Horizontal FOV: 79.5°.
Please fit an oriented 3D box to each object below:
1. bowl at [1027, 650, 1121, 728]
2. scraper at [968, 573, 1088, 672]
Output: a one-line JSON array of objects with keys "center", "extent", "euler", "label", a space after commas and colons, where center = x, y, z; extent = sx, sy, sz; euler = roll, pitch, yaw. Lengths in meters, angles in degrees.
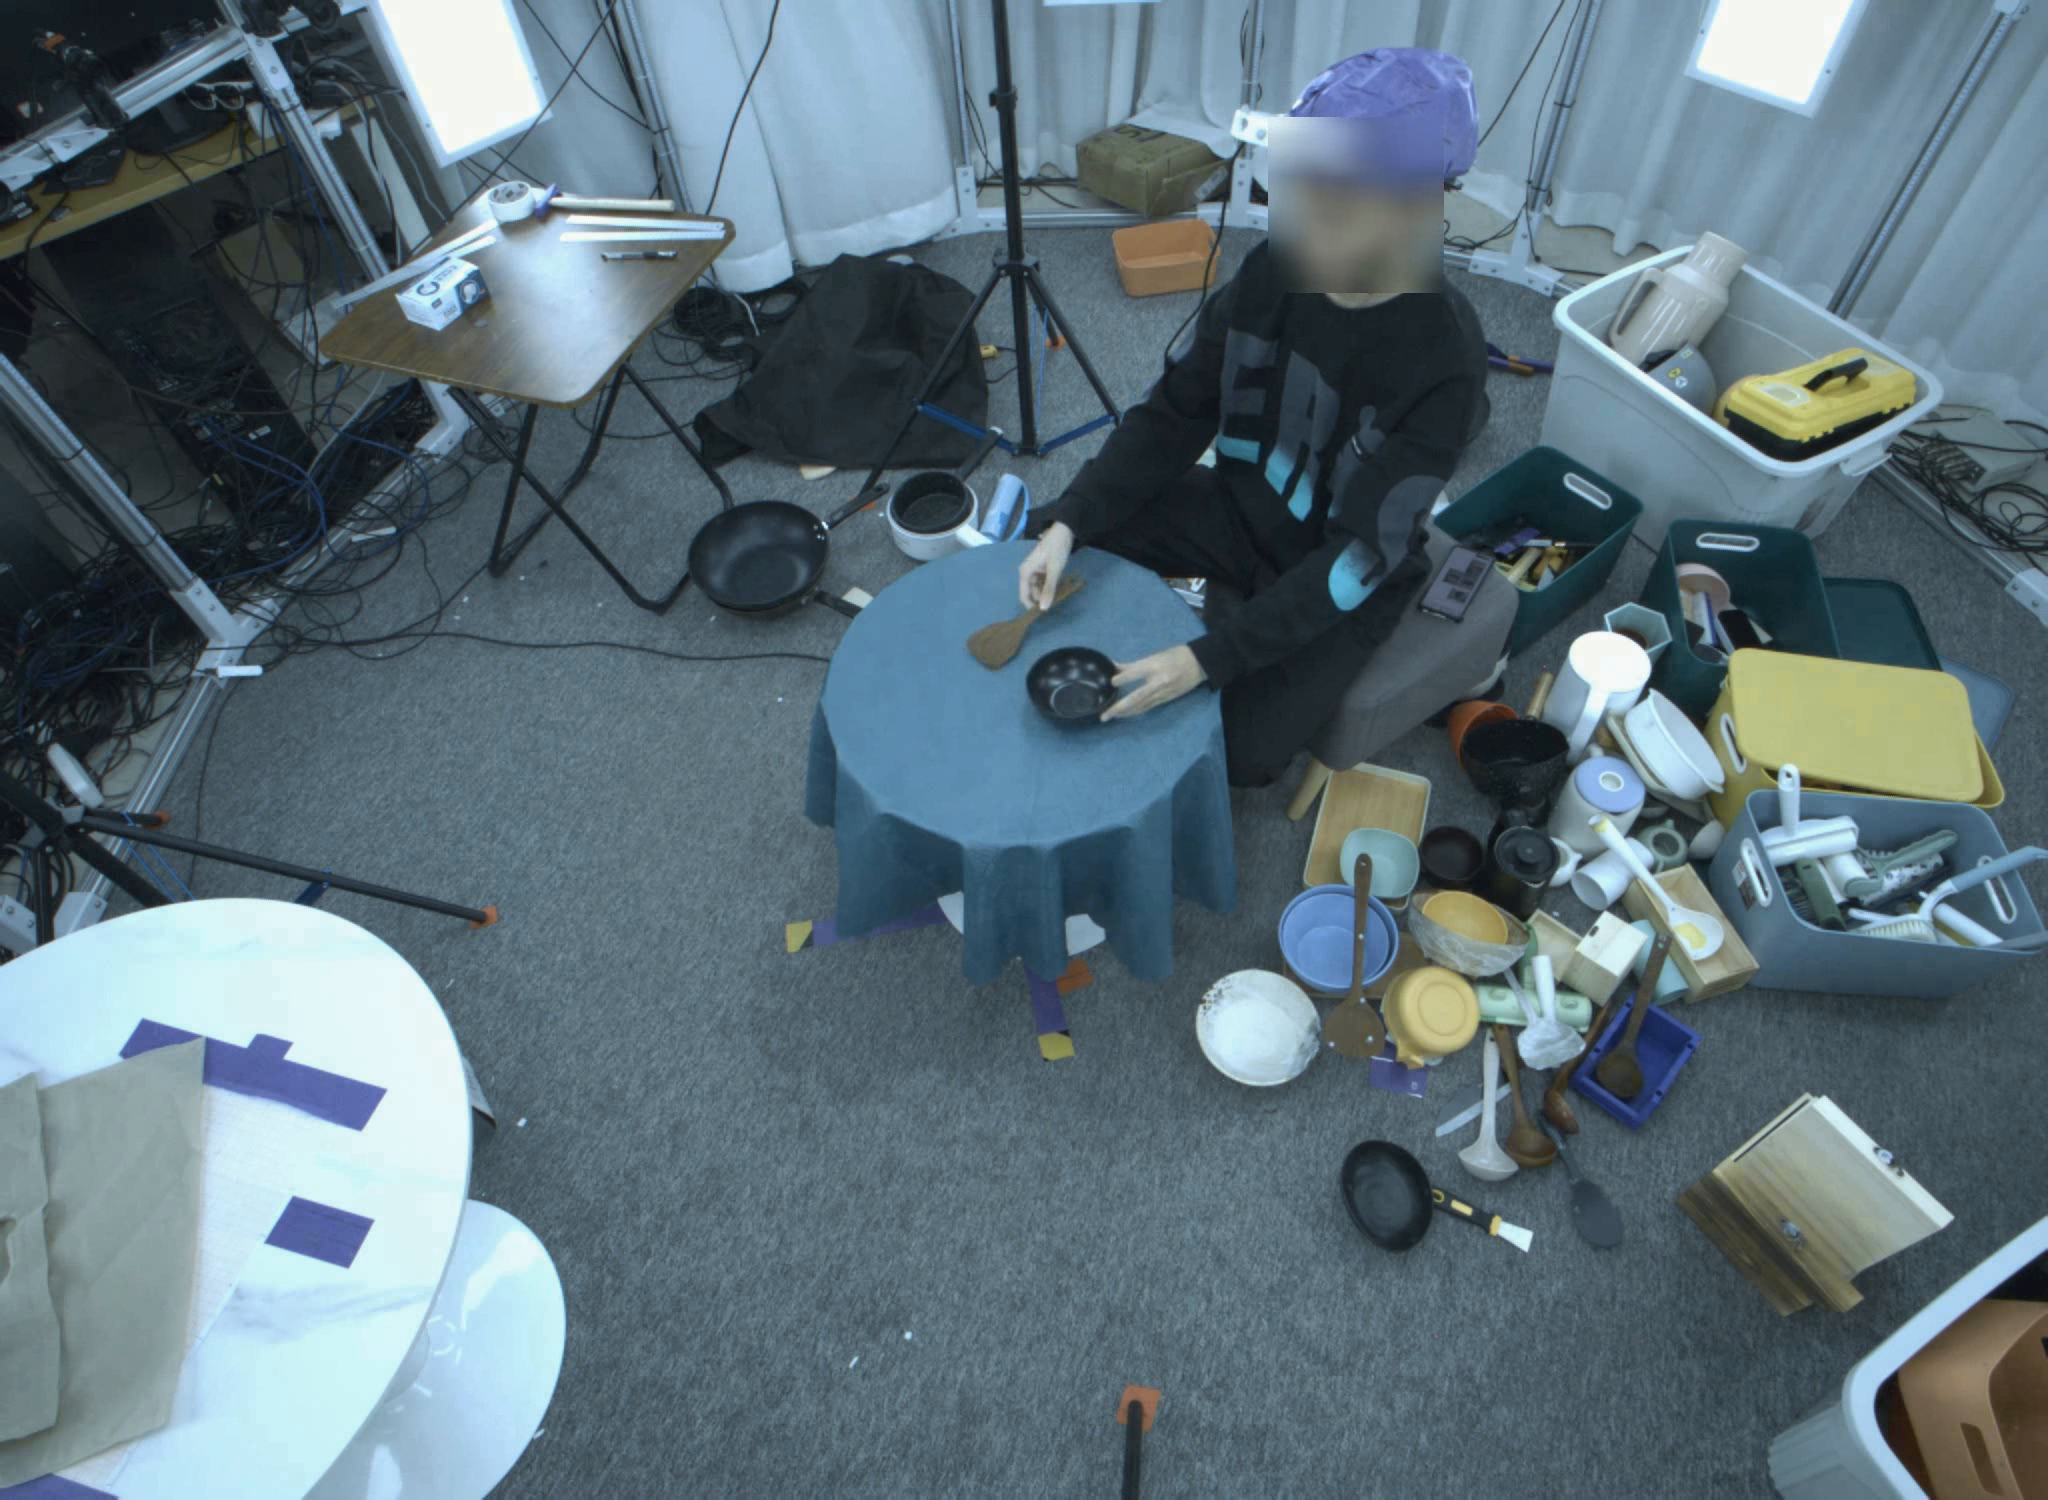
[{"center": [0.076, -0.081, 1.822], "extent": [0.139, 0.050, 0.138], "euler": [-3, 51, 5], "label": "bowl"}, {"center": [0.012, -0.204, 1.904], "extent": [0.212, 0.011, 0.075], "euler": [-39, 72, -6], "label": "scraper"}]
